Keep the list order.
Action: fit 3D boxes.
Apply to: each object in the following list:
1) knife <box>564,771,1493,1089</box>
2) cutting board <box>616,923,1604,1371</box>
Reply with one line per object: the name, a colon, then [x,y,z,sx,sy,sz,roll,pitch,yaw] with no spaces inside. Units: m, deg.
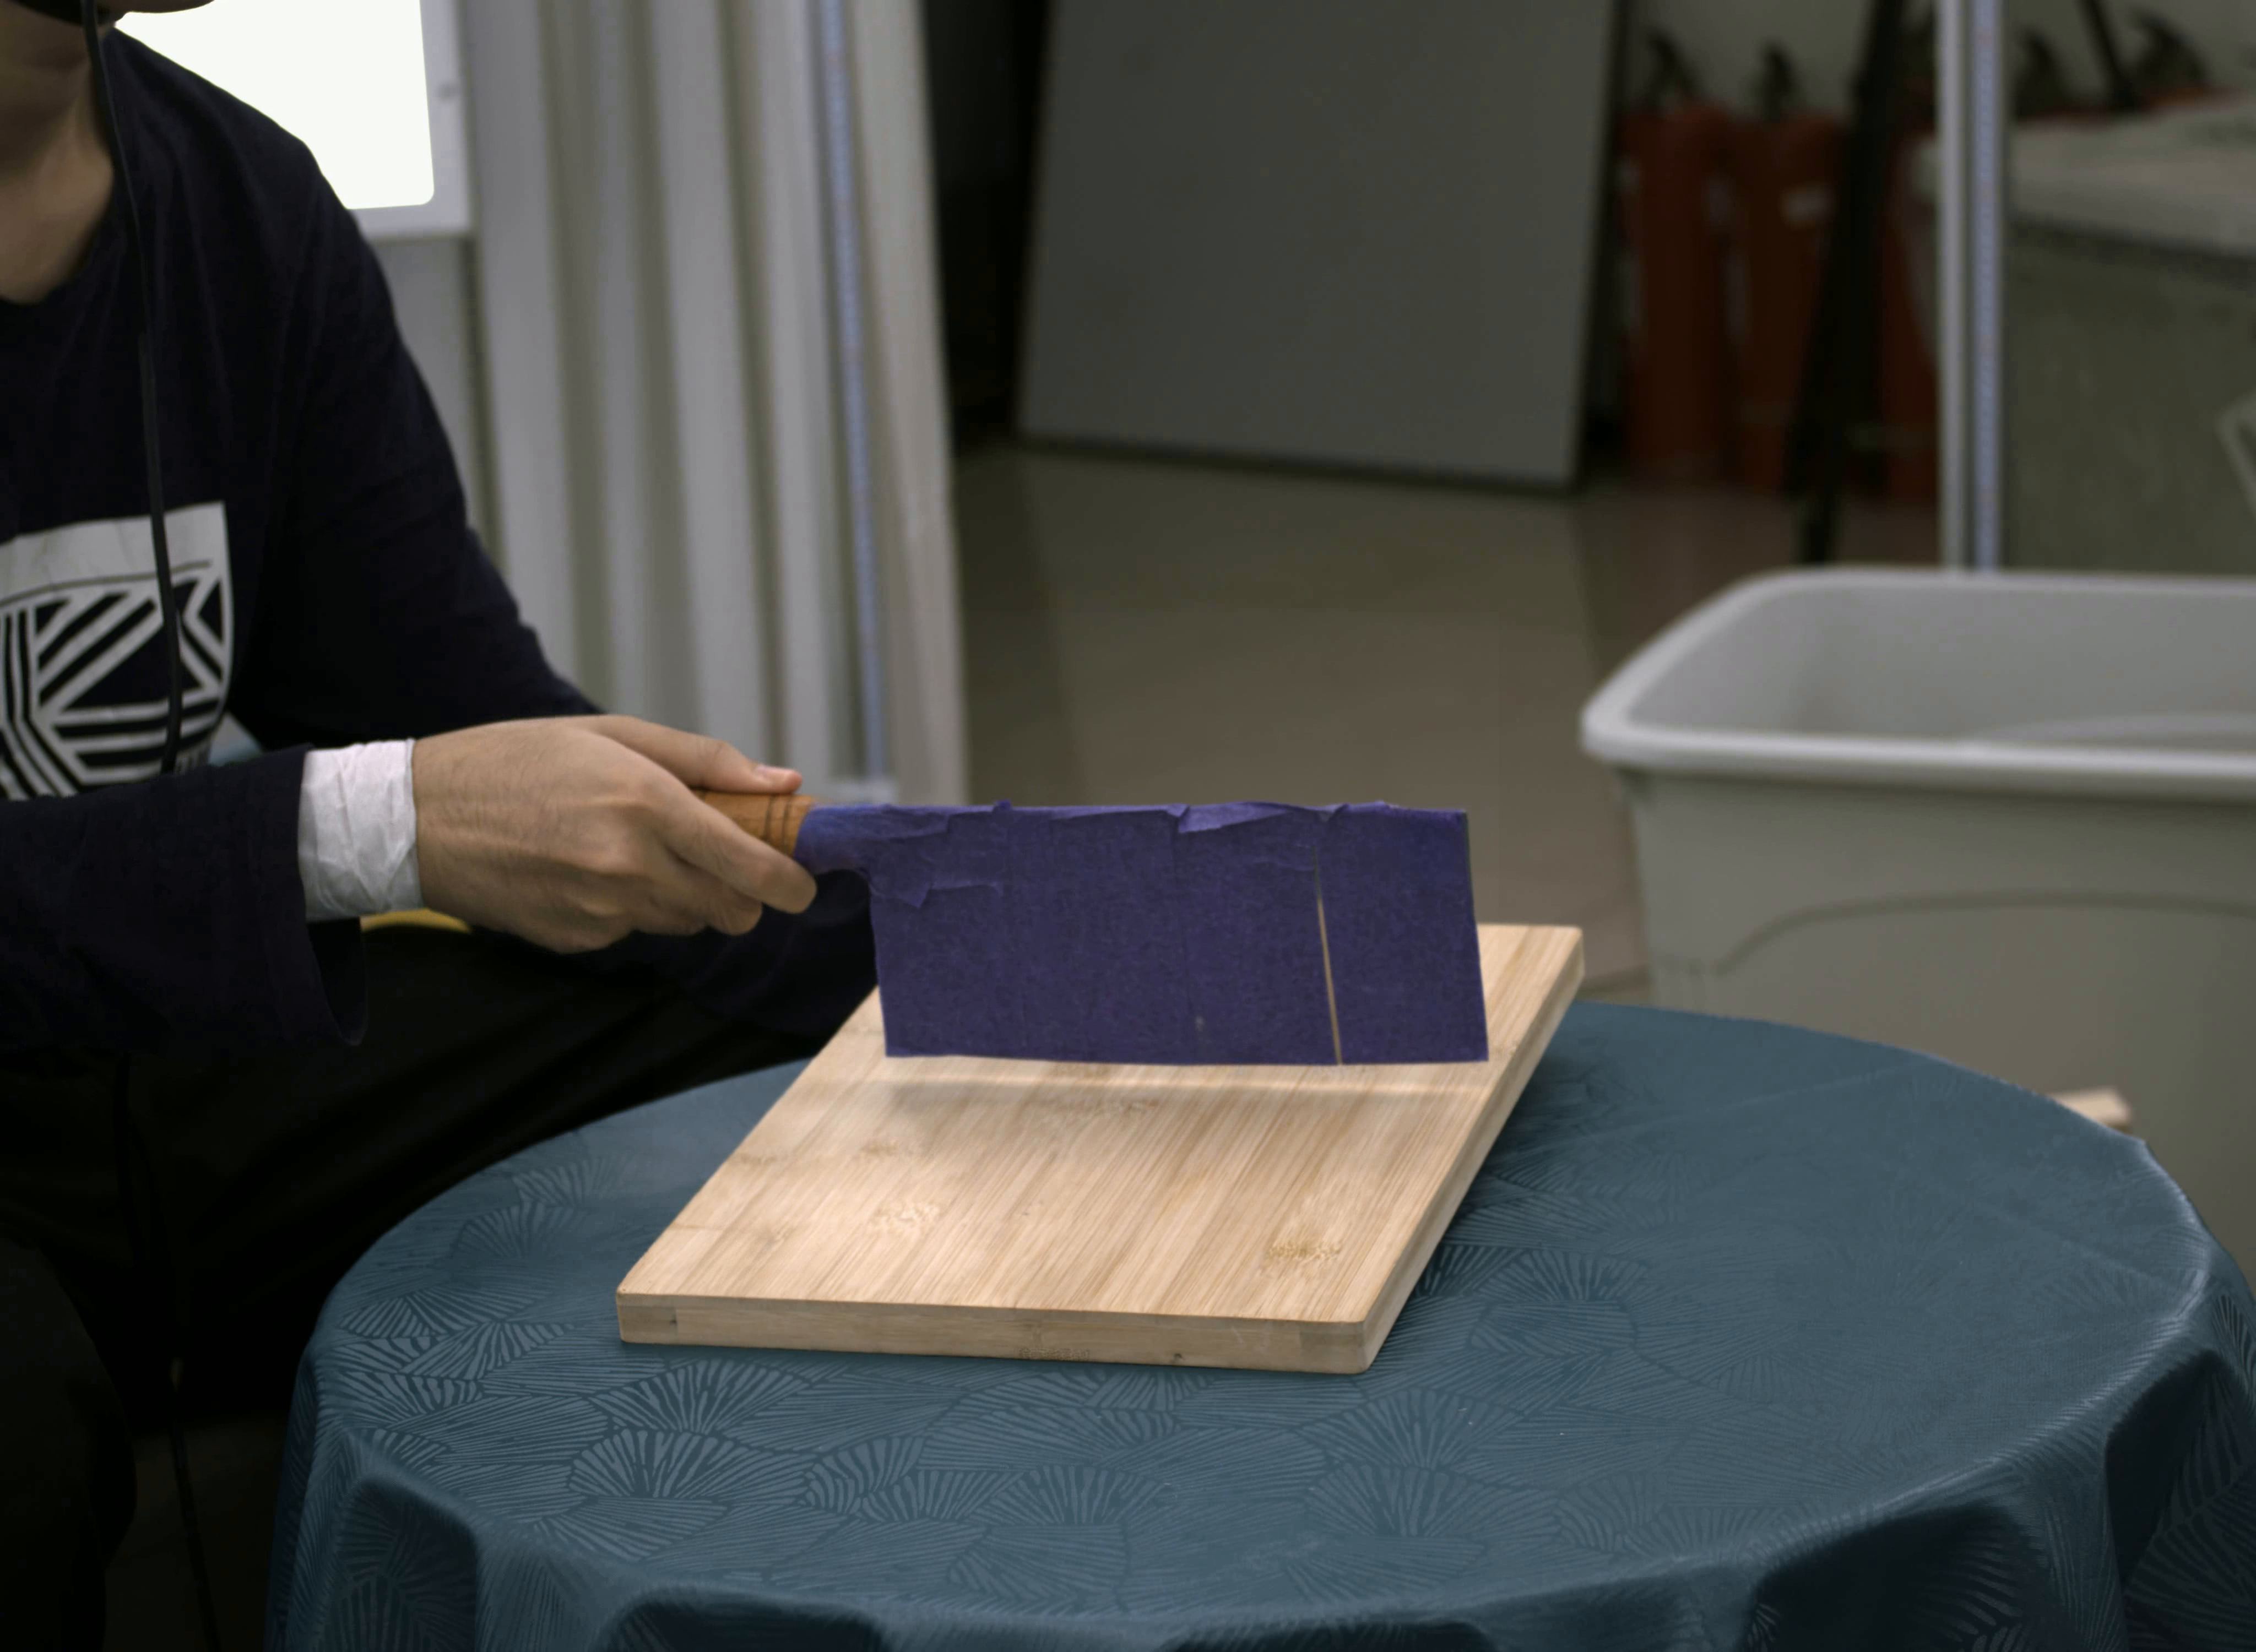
knife: [-0.035,0.035,1.774,0.314,0.105,0.032,0,16,19]
cutting board: [0.004,0.098,1.777,0.250,0.024,0.346,0,19,17]
